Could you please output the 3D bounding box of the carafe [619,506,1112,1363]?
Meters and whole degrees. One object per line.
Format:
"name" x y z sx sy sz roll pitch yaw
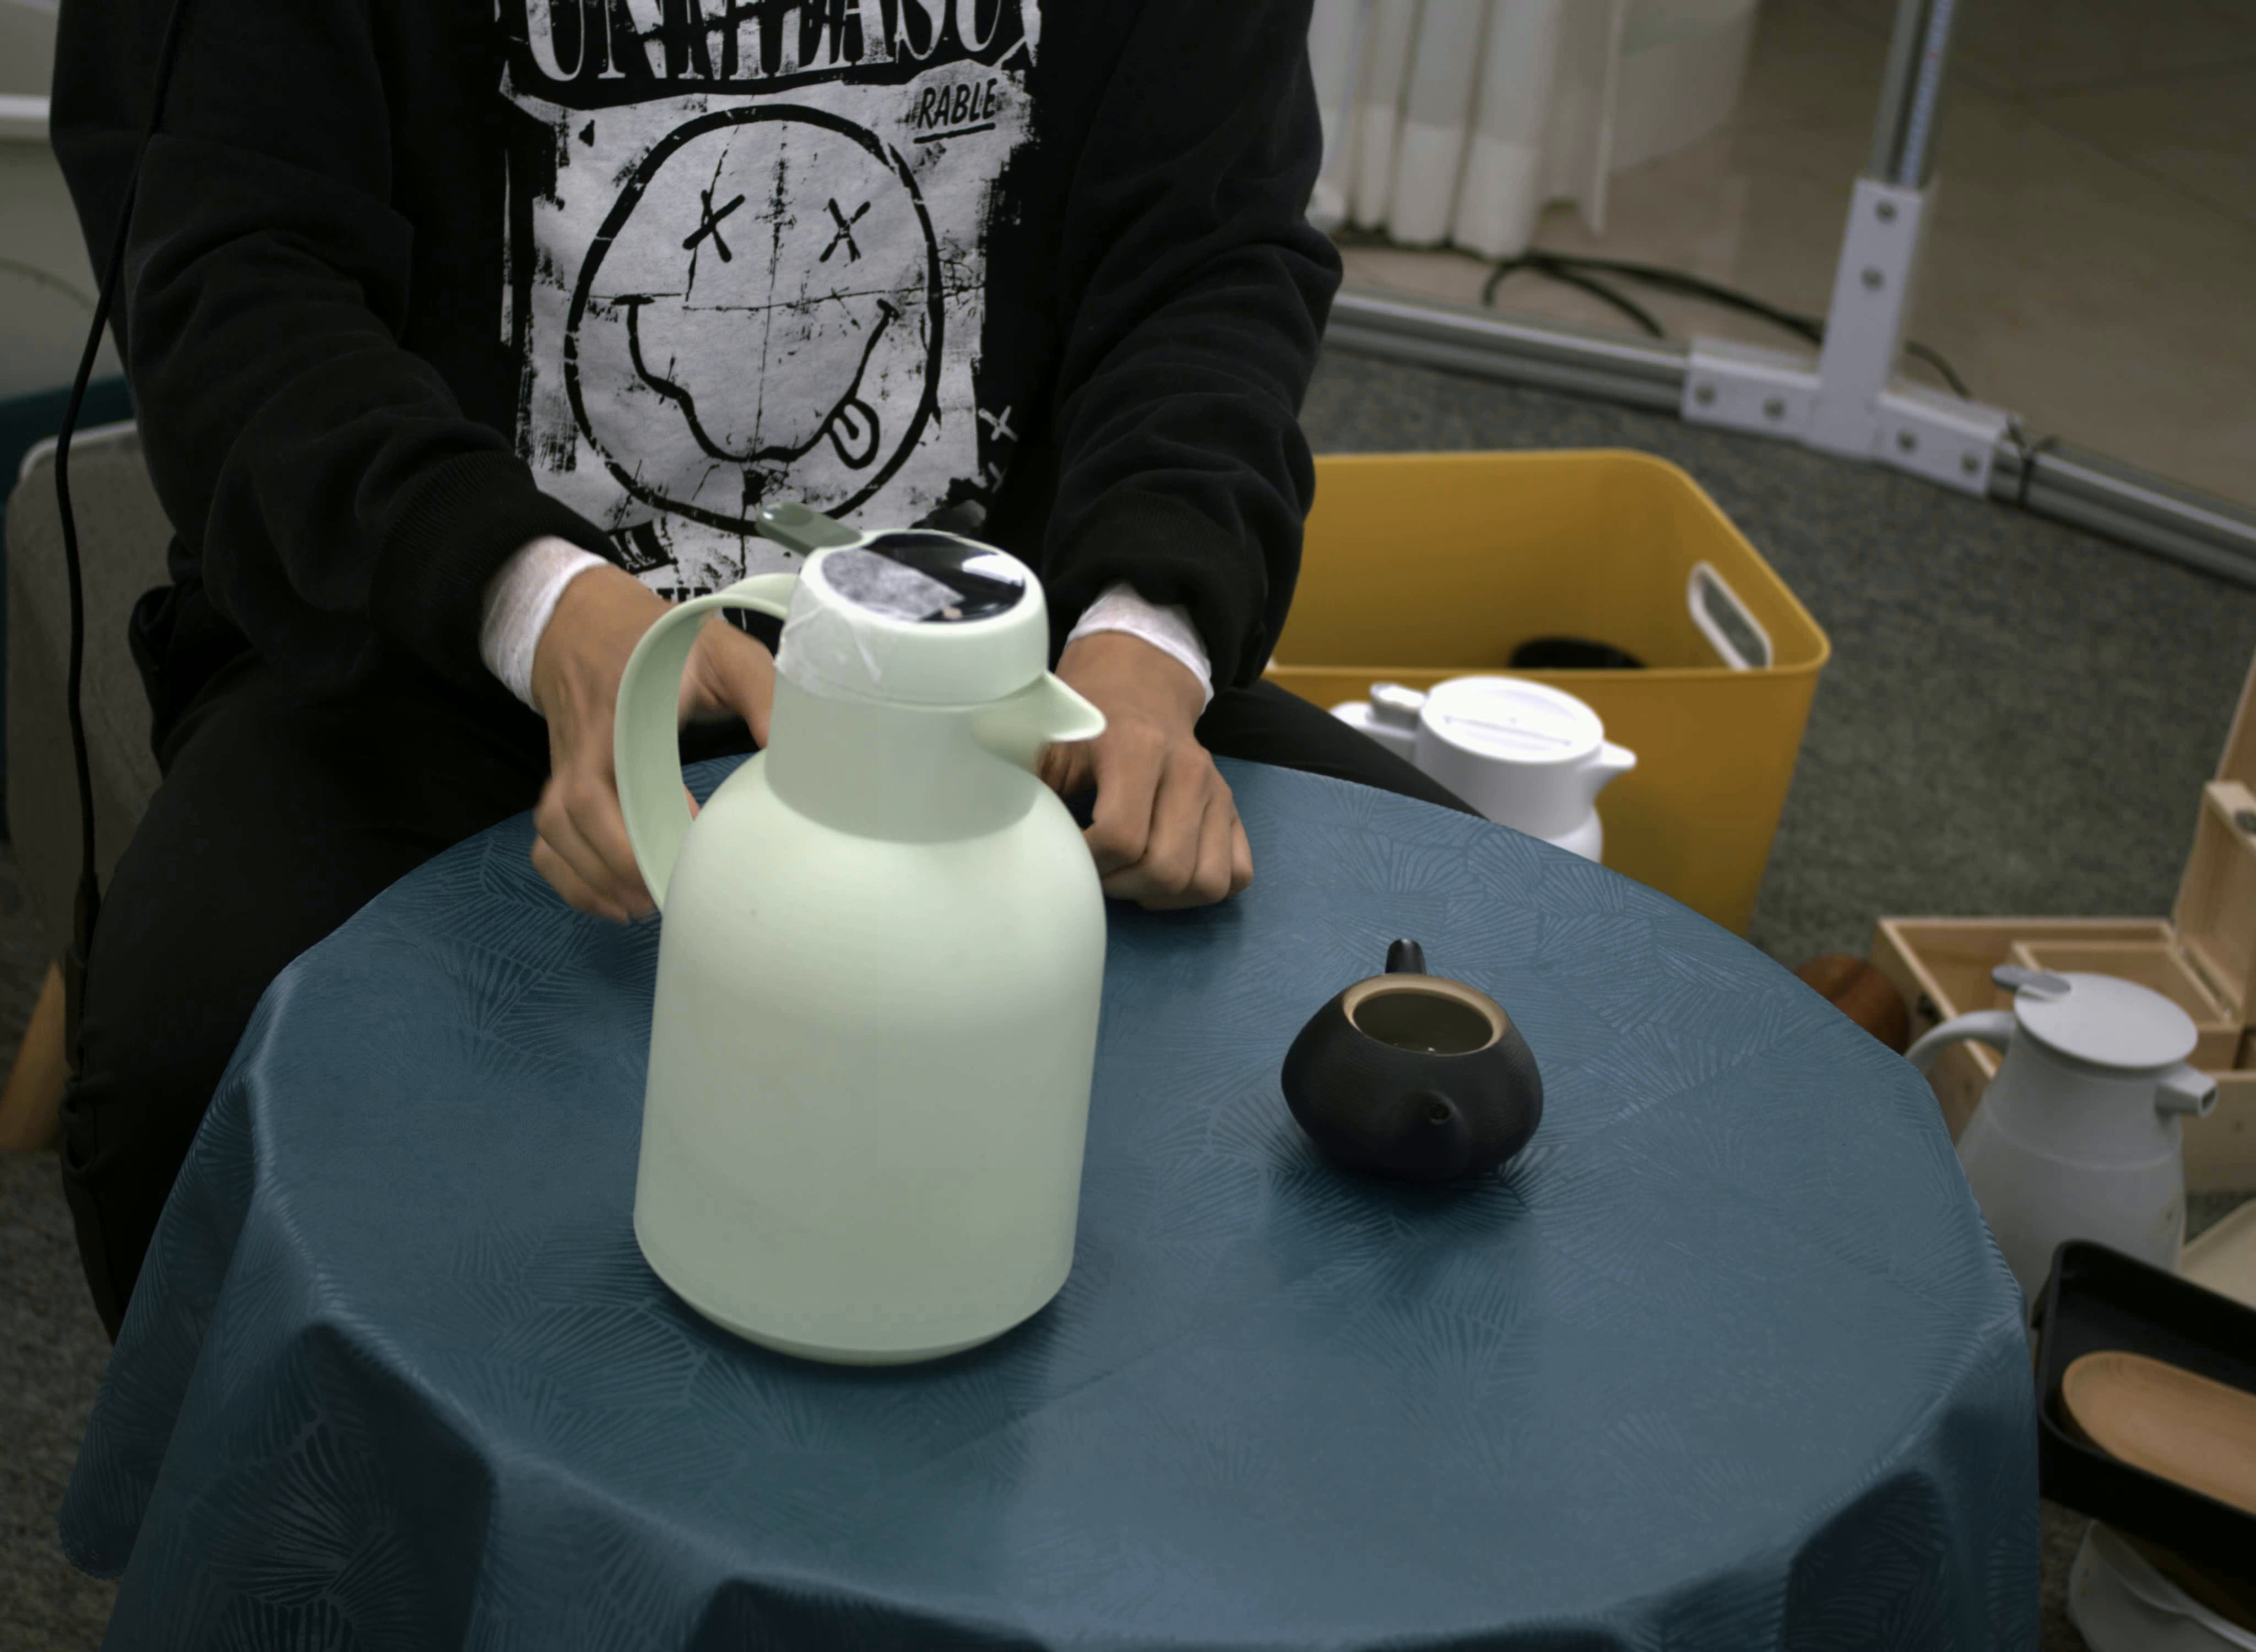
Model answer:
"carafe" -0.087 0.028 1.699 0.188 0.256 0.144 21 32 34

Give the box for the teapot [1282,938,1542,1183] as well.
"teapot" 0.099 0.087 1.841 0.090 0.053 0.134 5 27 -6
